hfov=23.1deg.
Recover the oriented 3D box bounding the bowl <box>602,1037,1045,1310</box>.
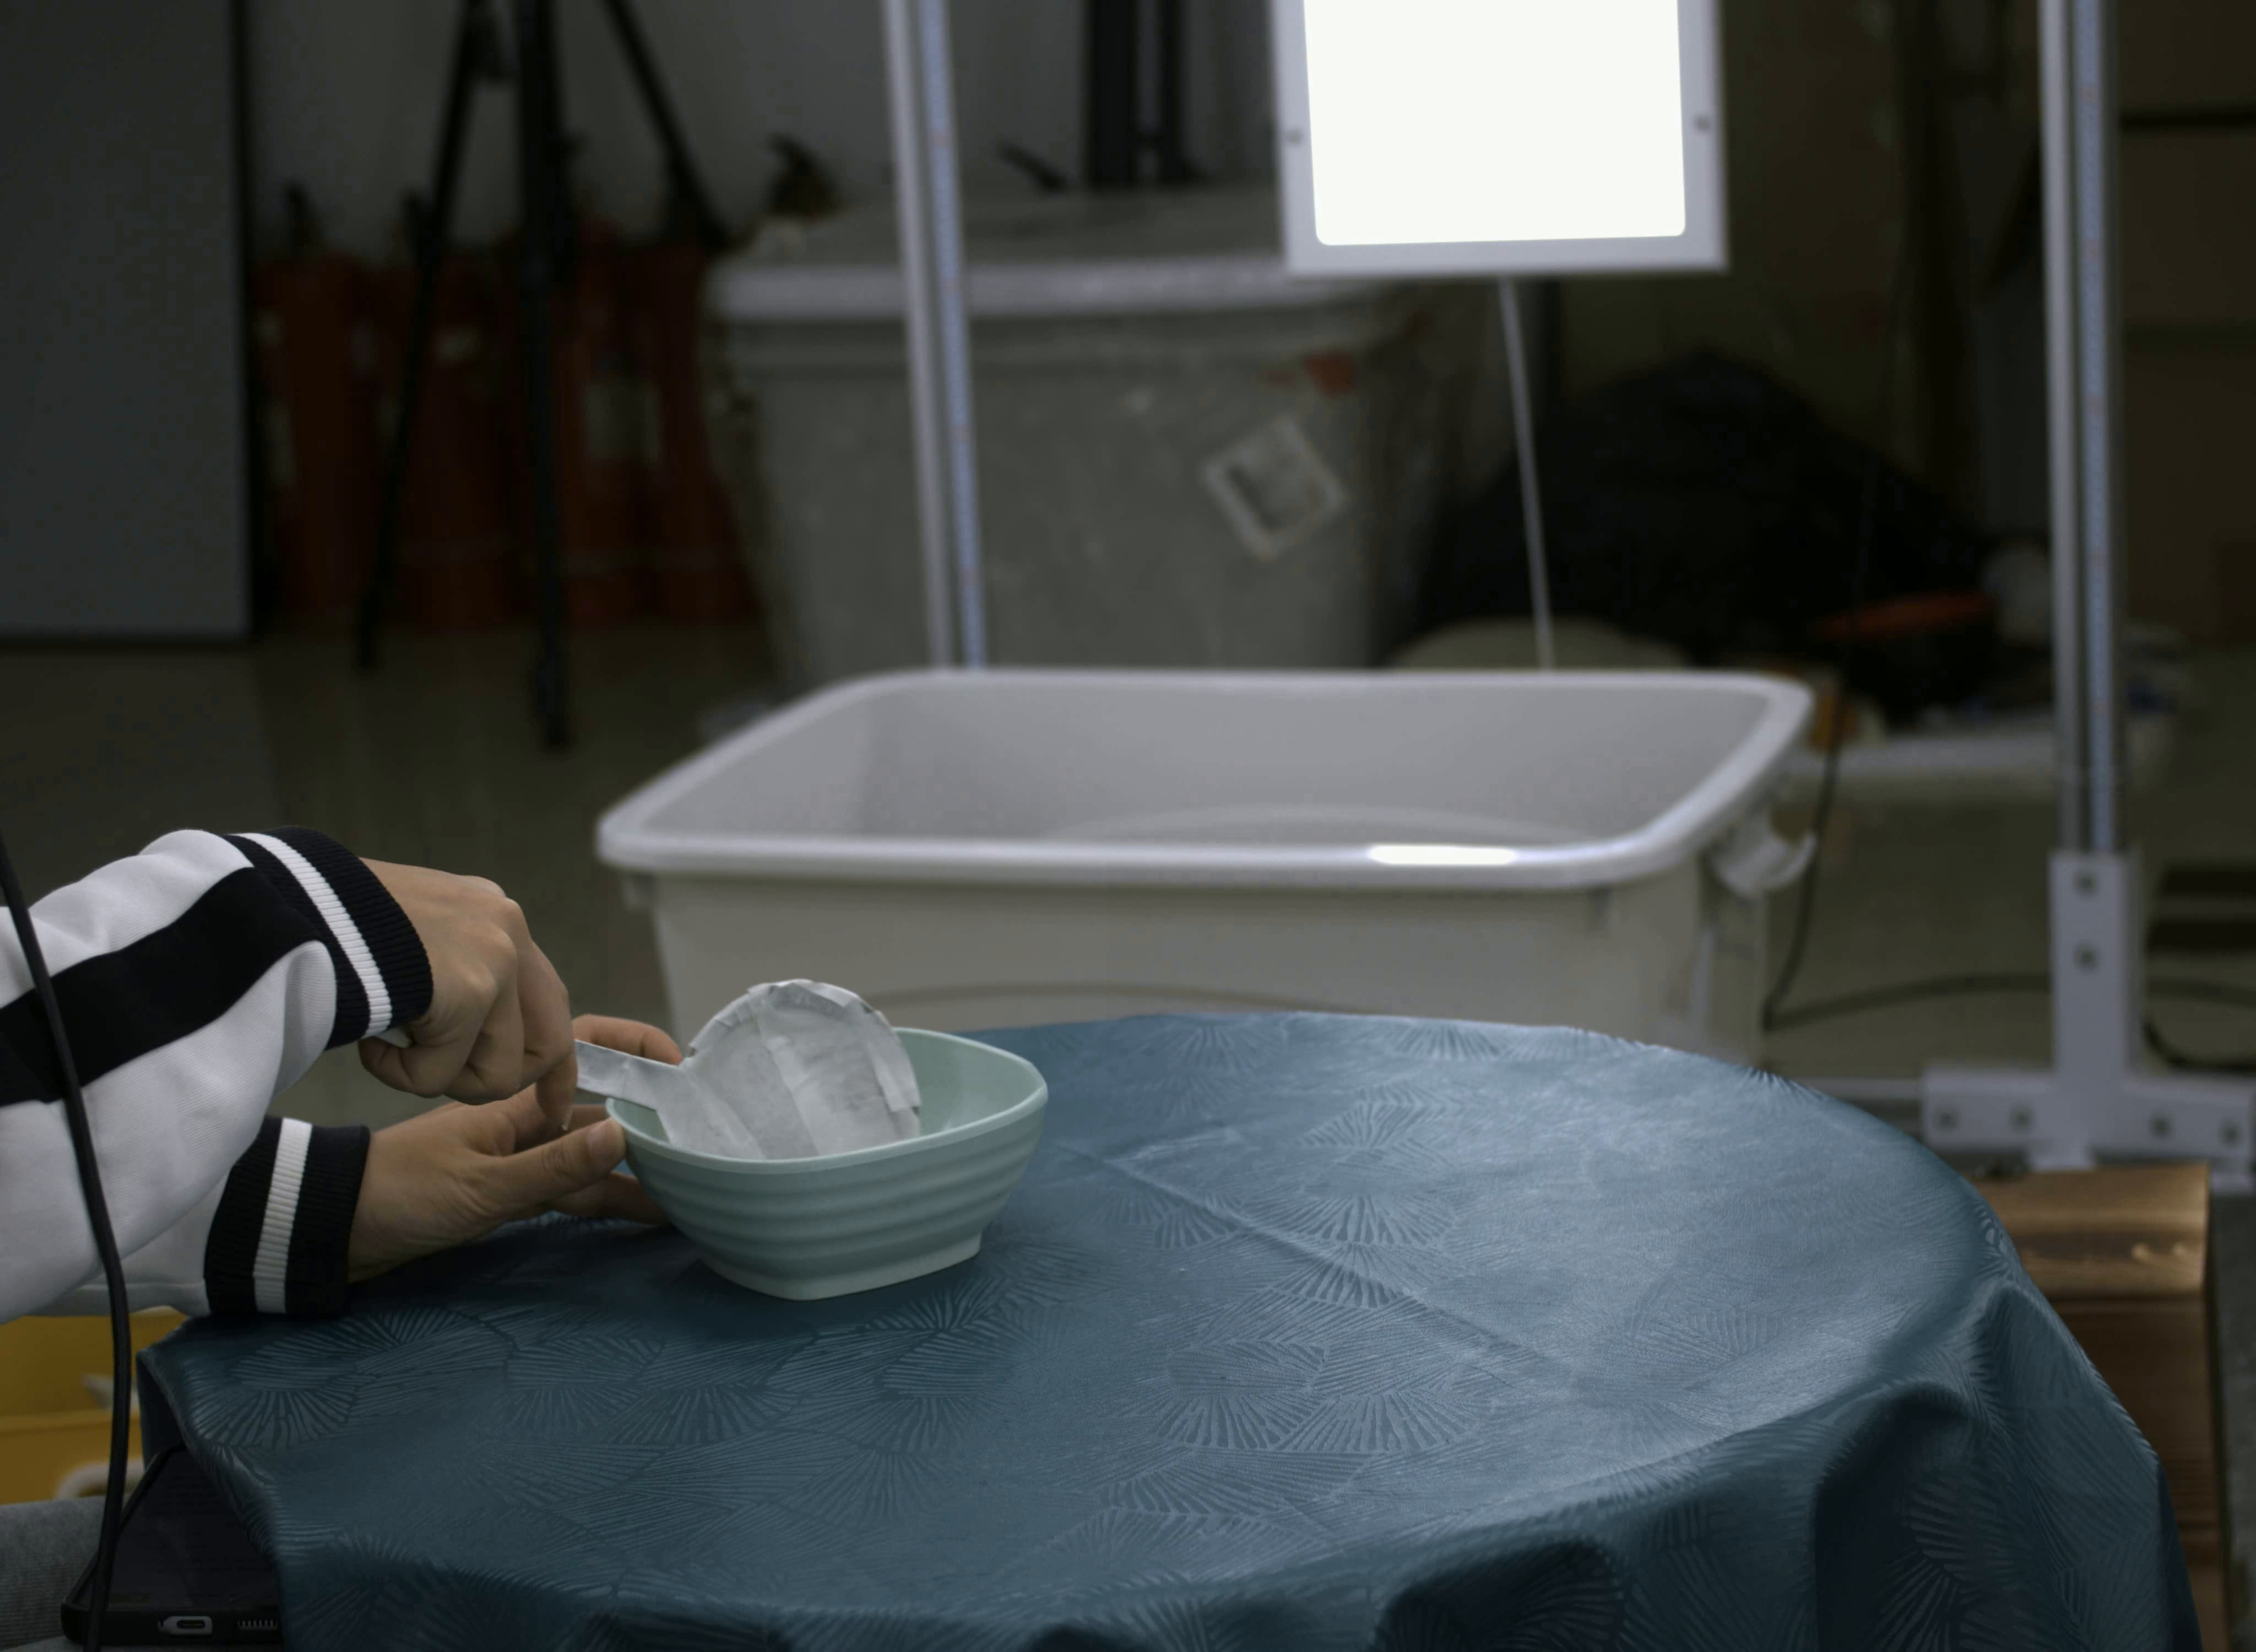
[{"bbox_3d":[-0.101,0.120,1.853,0.151,0.059,0.151,-5,14,0],"label":"bowl"}]

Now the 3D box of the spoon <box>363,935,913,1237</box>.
[{"bbox_3d":[-0.149,0.070,1.746,0.060,0.100,0.273,5,-12,24],"label":"spoon"}]
